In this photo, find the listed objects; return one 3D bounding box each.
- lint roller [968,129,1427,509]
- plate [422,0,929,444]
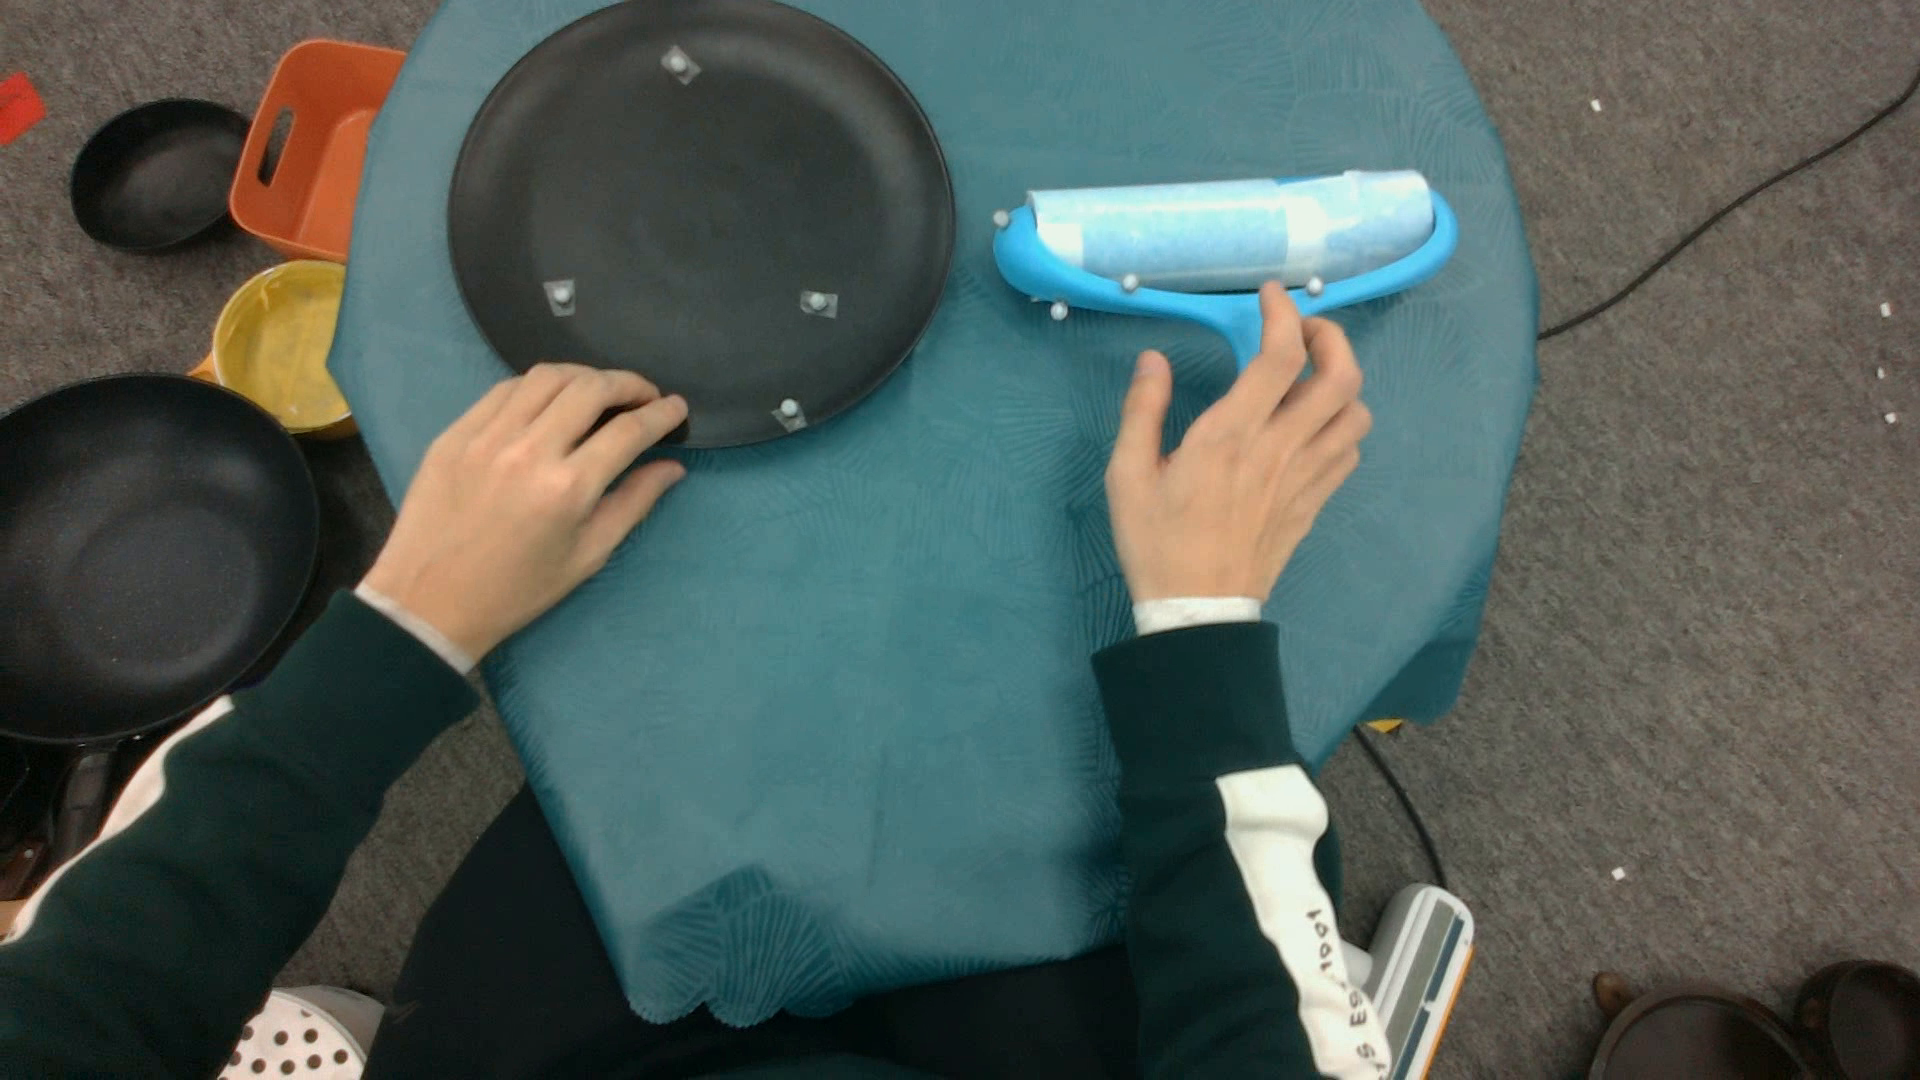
[{"bbox_3d":[0.128,-0.109,0.671,0.229,0.068,0.180,-9,78,-7],"label":"lint roller"},{"bbox_3d":[-0.137,-0.161,0.679,0.244,0.023,0.245,1,76,-4],"label":"plate"}]
